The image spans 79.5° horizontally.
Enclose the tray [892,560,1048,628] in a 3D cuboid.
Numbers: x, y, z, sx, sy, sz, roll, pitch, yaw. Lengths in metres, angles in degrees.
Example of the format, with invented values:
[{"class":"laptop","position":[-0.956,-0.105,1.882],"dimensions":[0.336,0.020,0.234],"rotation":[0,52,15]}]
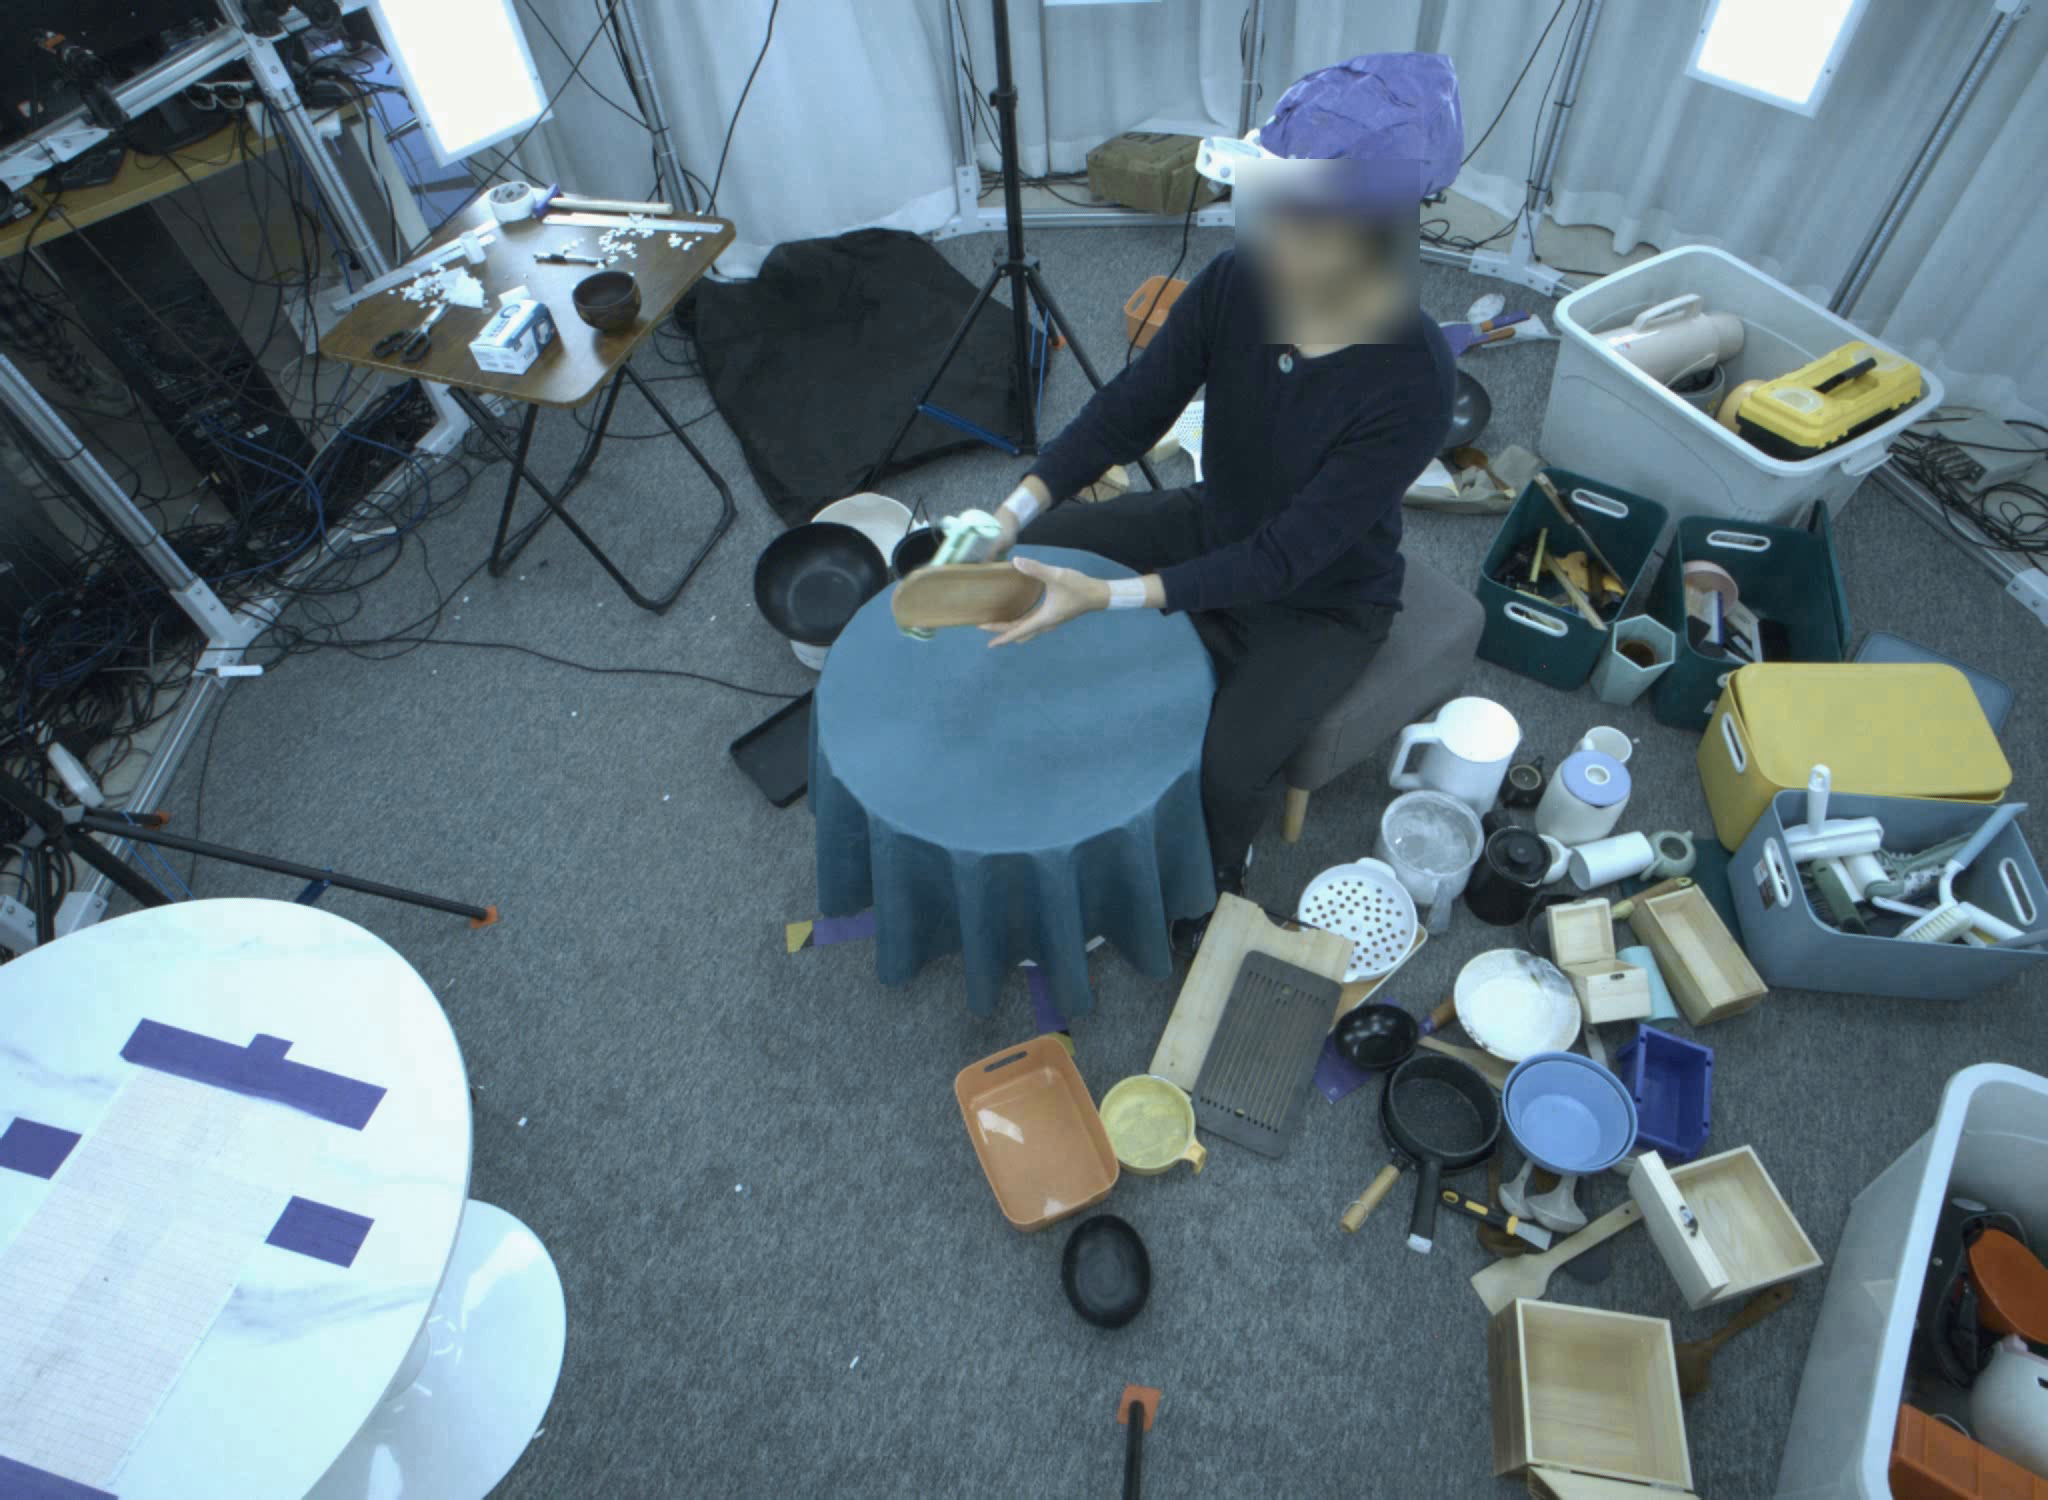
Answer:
[{"class":"tray","position":[-0.071,-0.209,1.629],"dimensions":[0.235,0.101,0.020],"rotation":[-9,53,-34]}]

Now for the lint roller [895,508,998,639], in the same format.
[{"class":"lint roller","position":[-0.099,-0.262,1.676],"dimensions":[0.082,0.198,0.184],"rotation":[35,33,-1]}]
